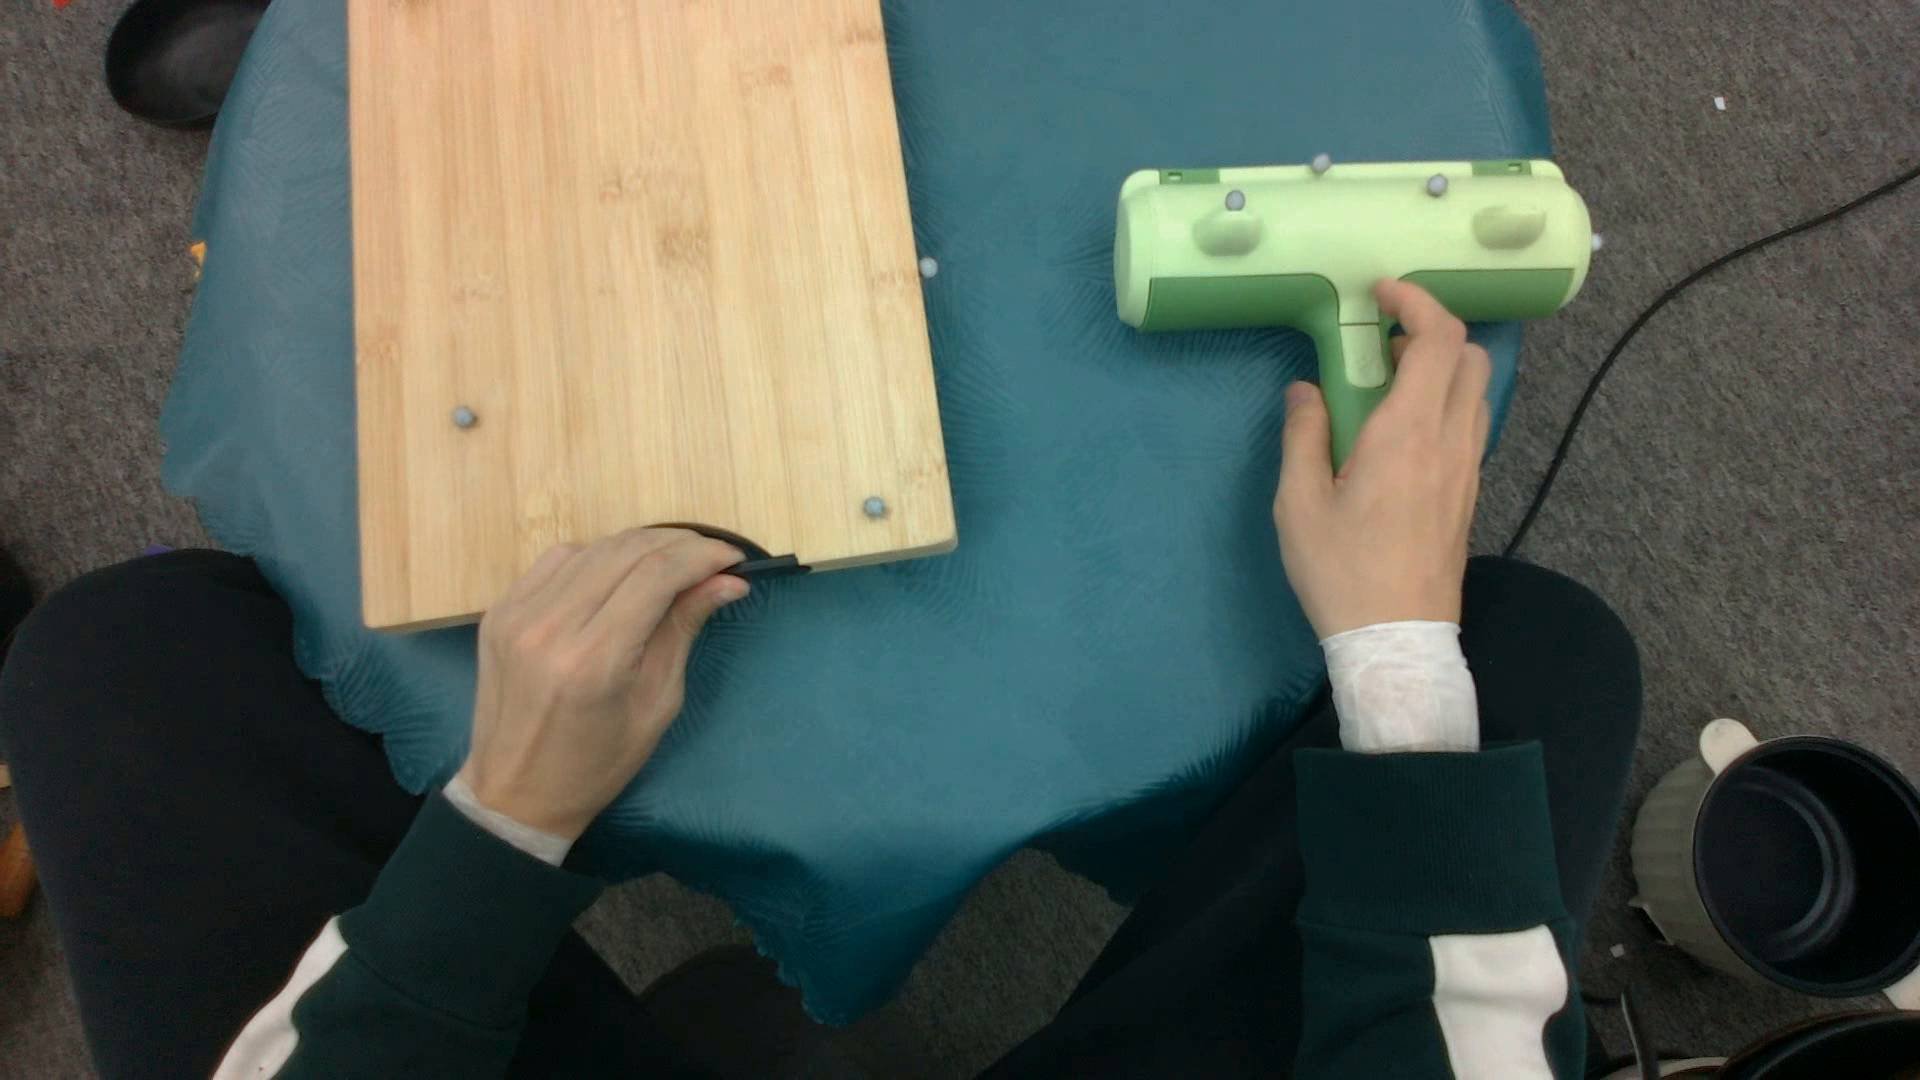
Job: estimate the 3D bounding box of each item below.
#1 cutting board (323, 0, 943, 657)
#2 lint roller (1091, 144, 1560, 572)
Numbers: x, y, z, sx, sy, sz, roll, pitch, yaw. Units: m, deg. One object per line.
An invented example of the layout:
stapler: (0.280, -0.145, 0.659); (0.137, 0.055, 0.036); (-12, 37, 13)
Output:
cutting board: (-0.153, -0.138, 0.602); (0.251, 0.023, 0.349); (-10, 75, 0)
lint roller: (0.161, -0.084, 0.574); (0.198, 0.082, 0.184); (-3, 69, -3)
